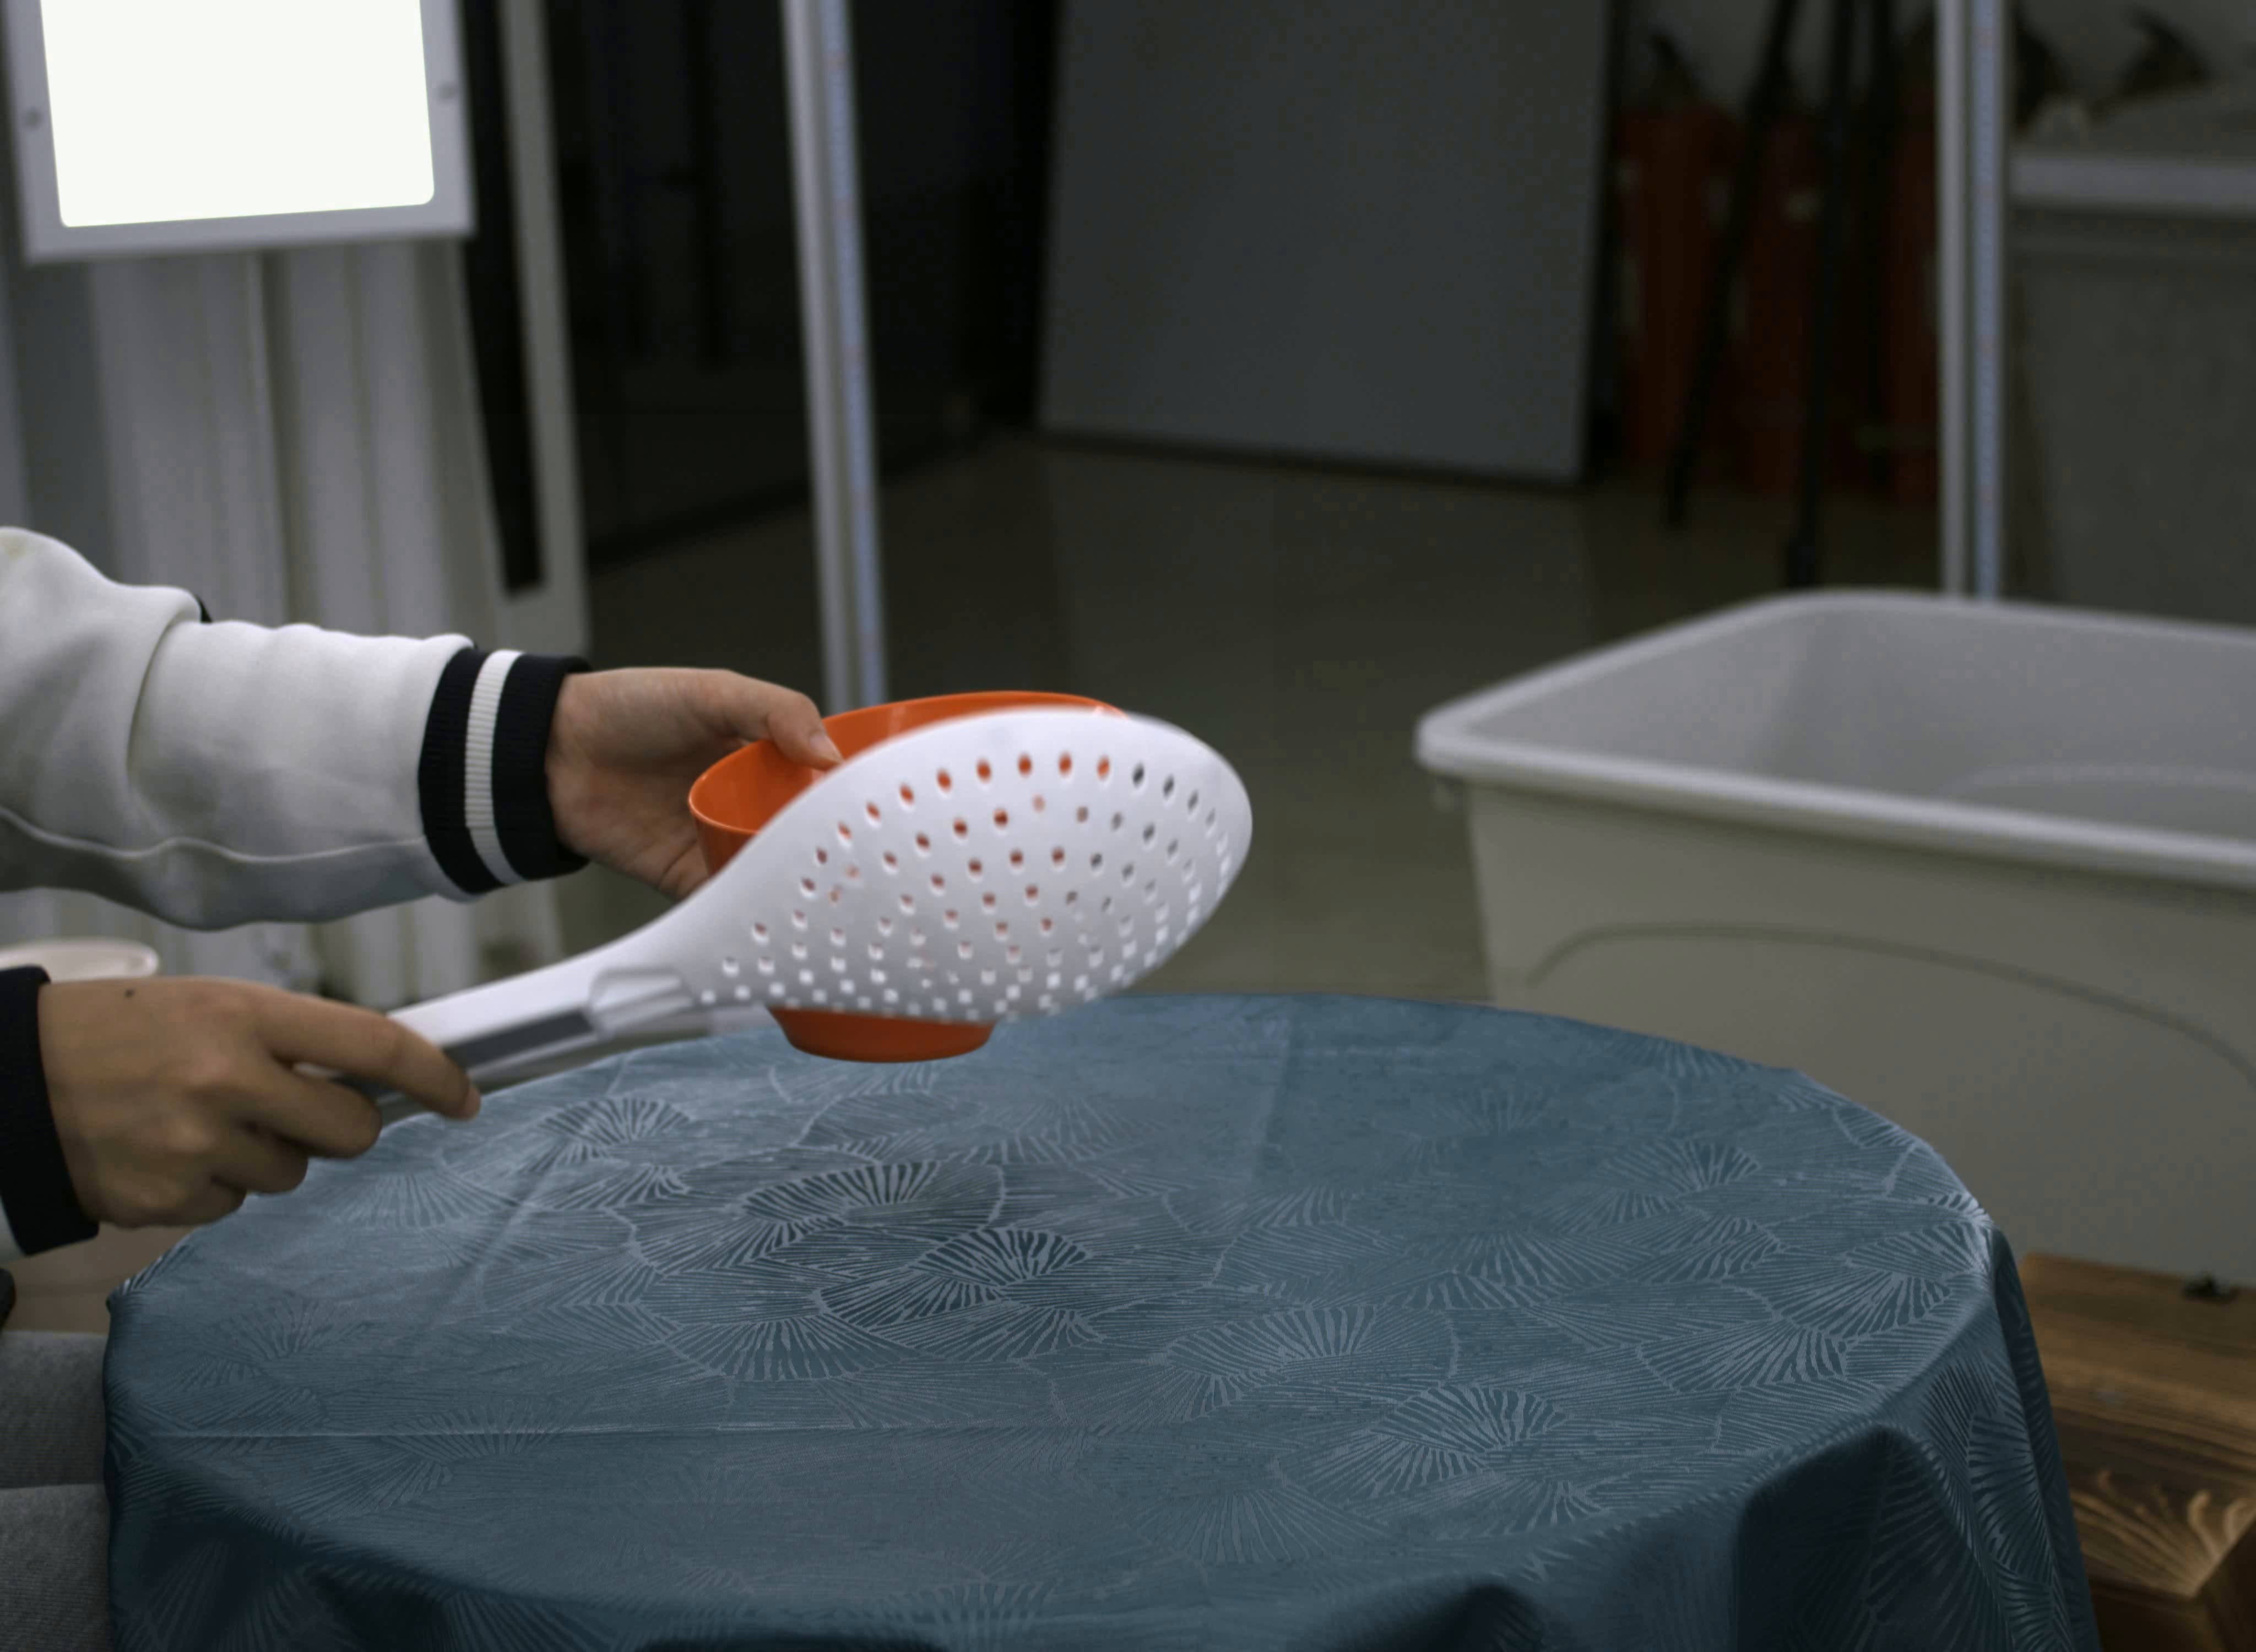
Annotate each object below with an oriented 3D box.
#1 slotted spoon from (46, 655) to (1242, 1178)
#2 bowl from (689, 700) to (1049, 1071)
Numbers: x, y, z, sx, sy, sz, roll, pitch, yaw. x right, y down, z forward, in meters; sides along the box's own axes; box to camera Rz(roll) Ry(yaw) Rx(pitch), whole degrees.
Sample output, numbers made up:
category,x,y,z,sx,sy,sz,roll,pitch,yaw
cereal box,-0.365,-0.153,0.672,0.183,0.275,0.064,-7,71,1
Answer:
category,x,y,z,sx,sy,sz,roll,pitch,yaw
slotted spoon,-0.134,0.035,1.475,0.348,0.135,0.046,-14,55,14
bowl,-0.069,0.020,1.760,0.146,0.106,0.148,-1,13,-1
